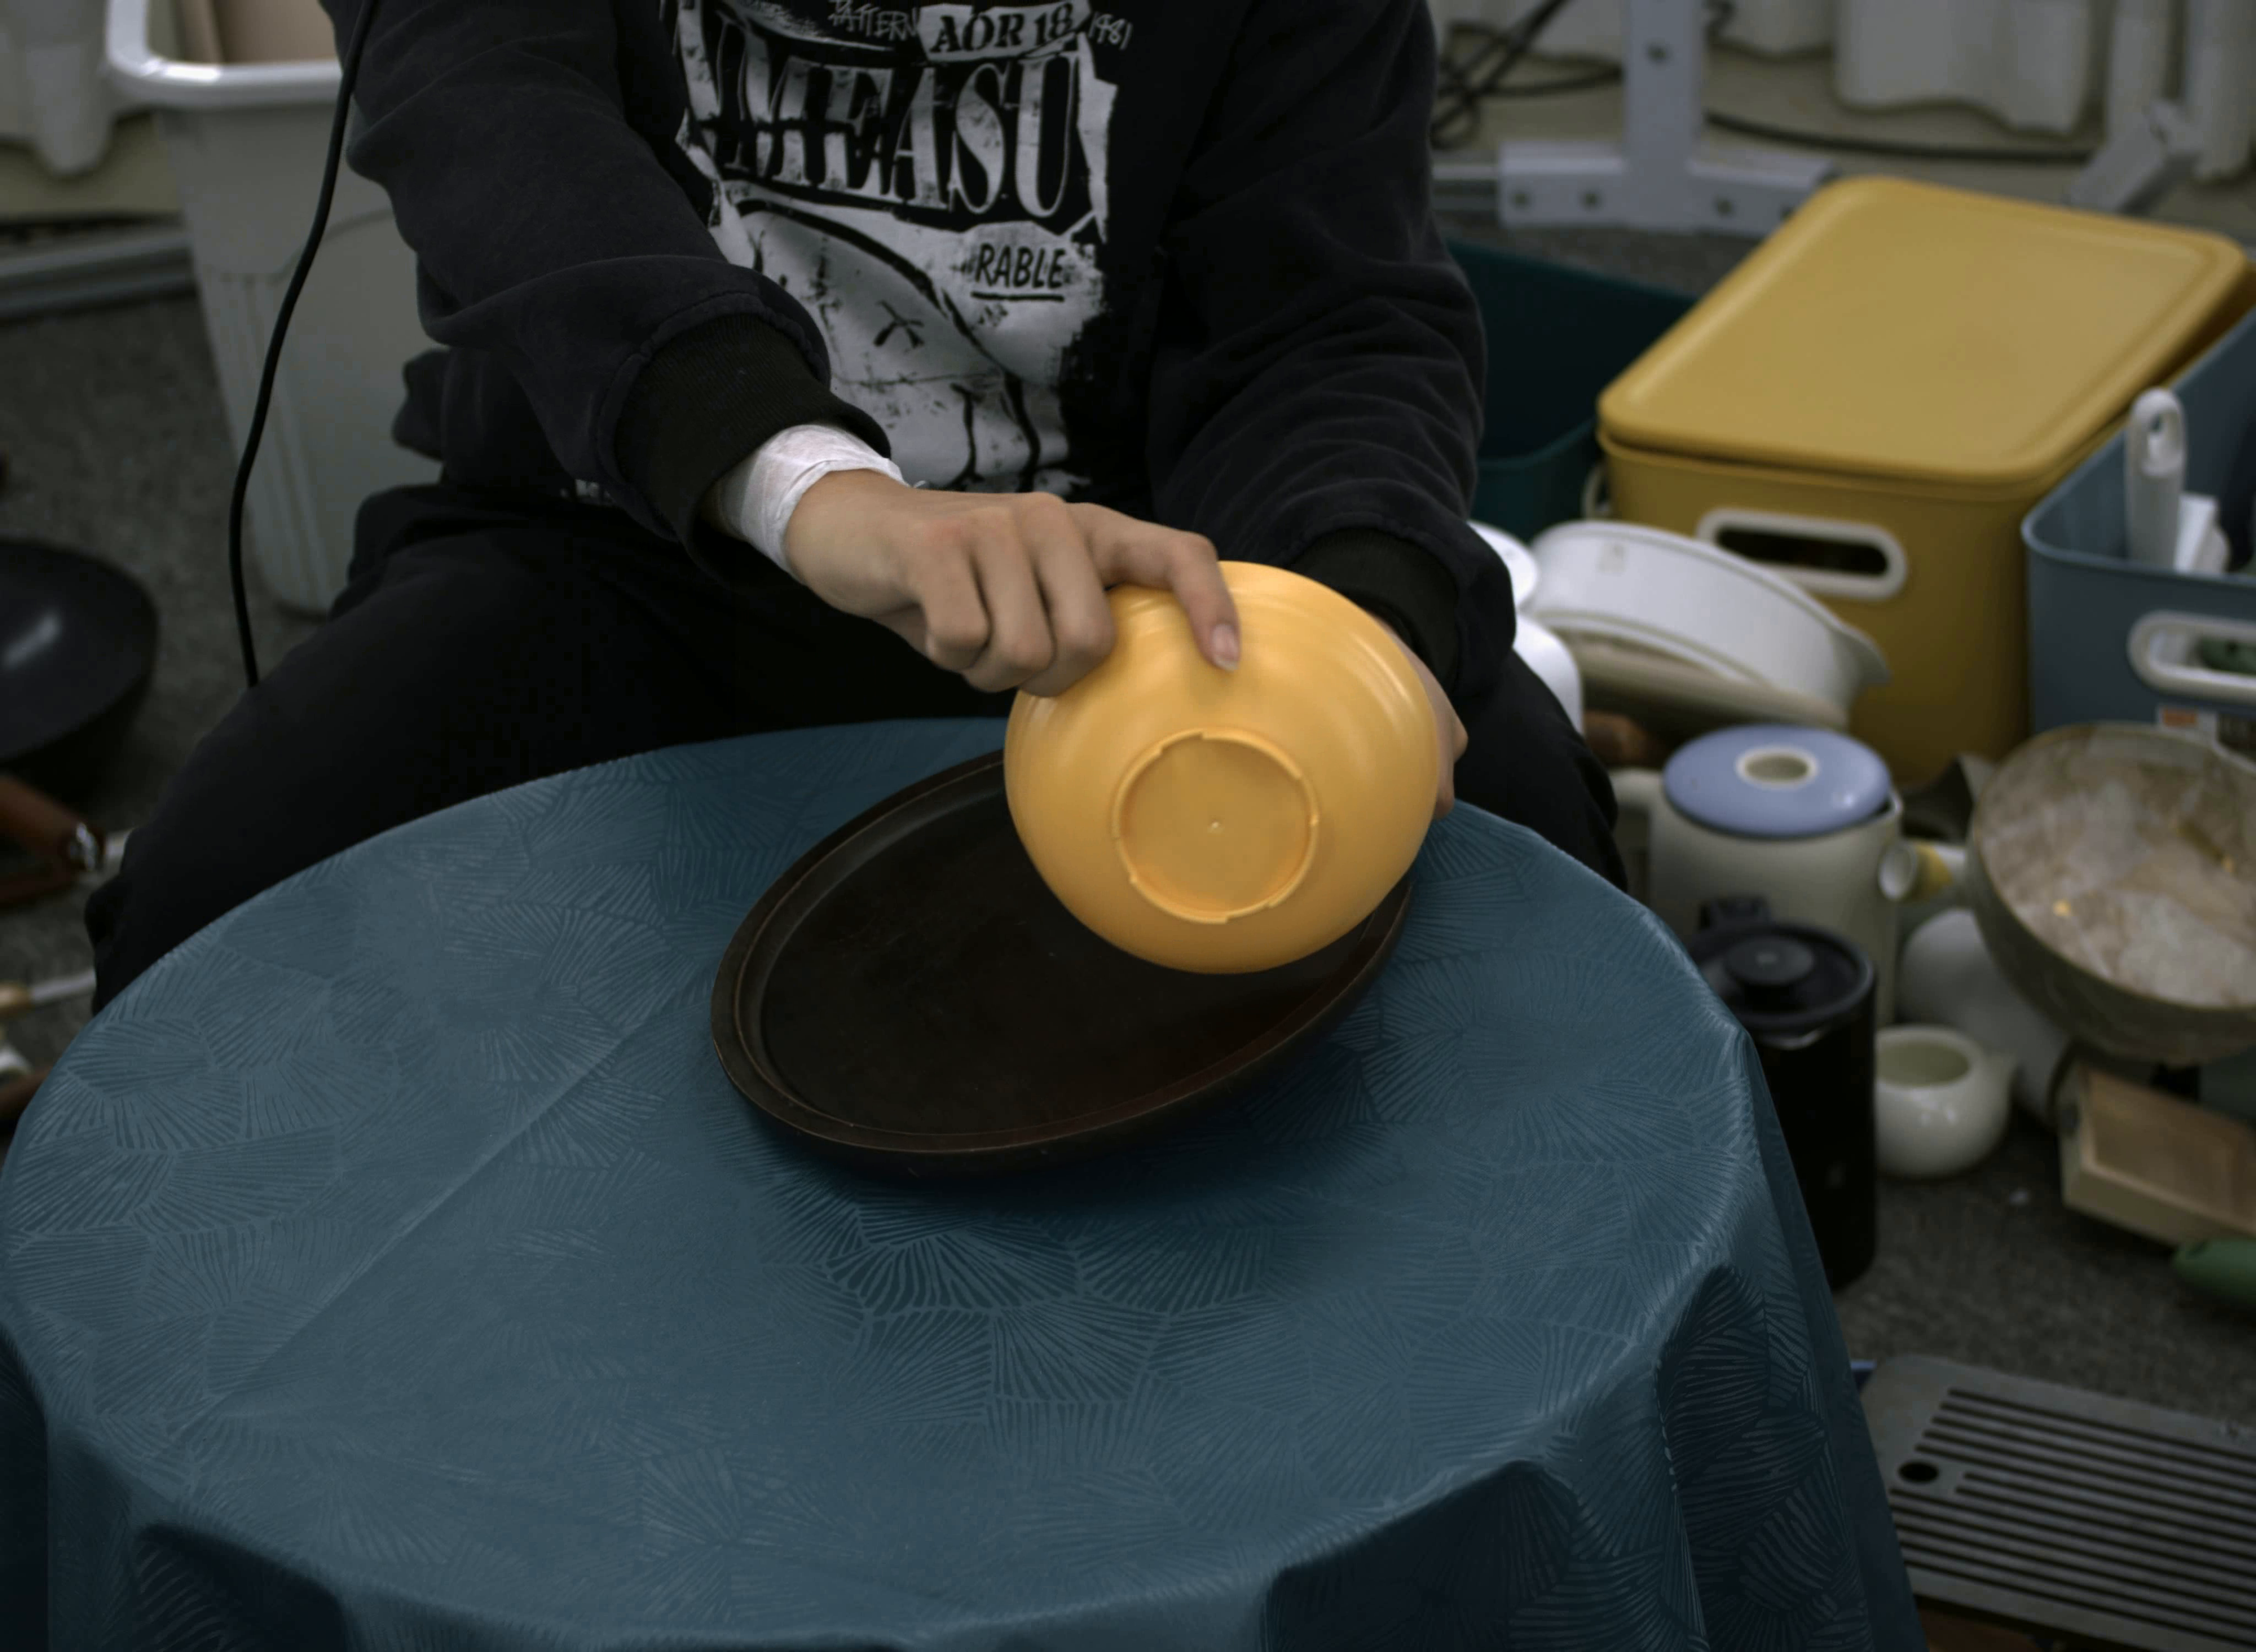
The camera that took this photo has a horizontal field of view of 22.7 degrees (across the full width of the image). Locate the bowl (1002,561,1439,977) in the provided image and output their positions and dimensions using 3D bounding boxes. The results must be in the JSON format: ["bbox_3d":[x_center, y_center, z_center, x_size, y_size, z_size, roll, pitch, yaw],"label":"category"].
[{"bbox_3d":[0.030,-0.009,1.833,0.144,0.144,0.061,-2,19,1],"label":"bowl"}]

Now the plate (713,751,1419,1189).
[{"bbox_3d":[-0.020,0.043,1.940,0.253,0.029,0.259,-14,31,9],"label":"plate"}]
